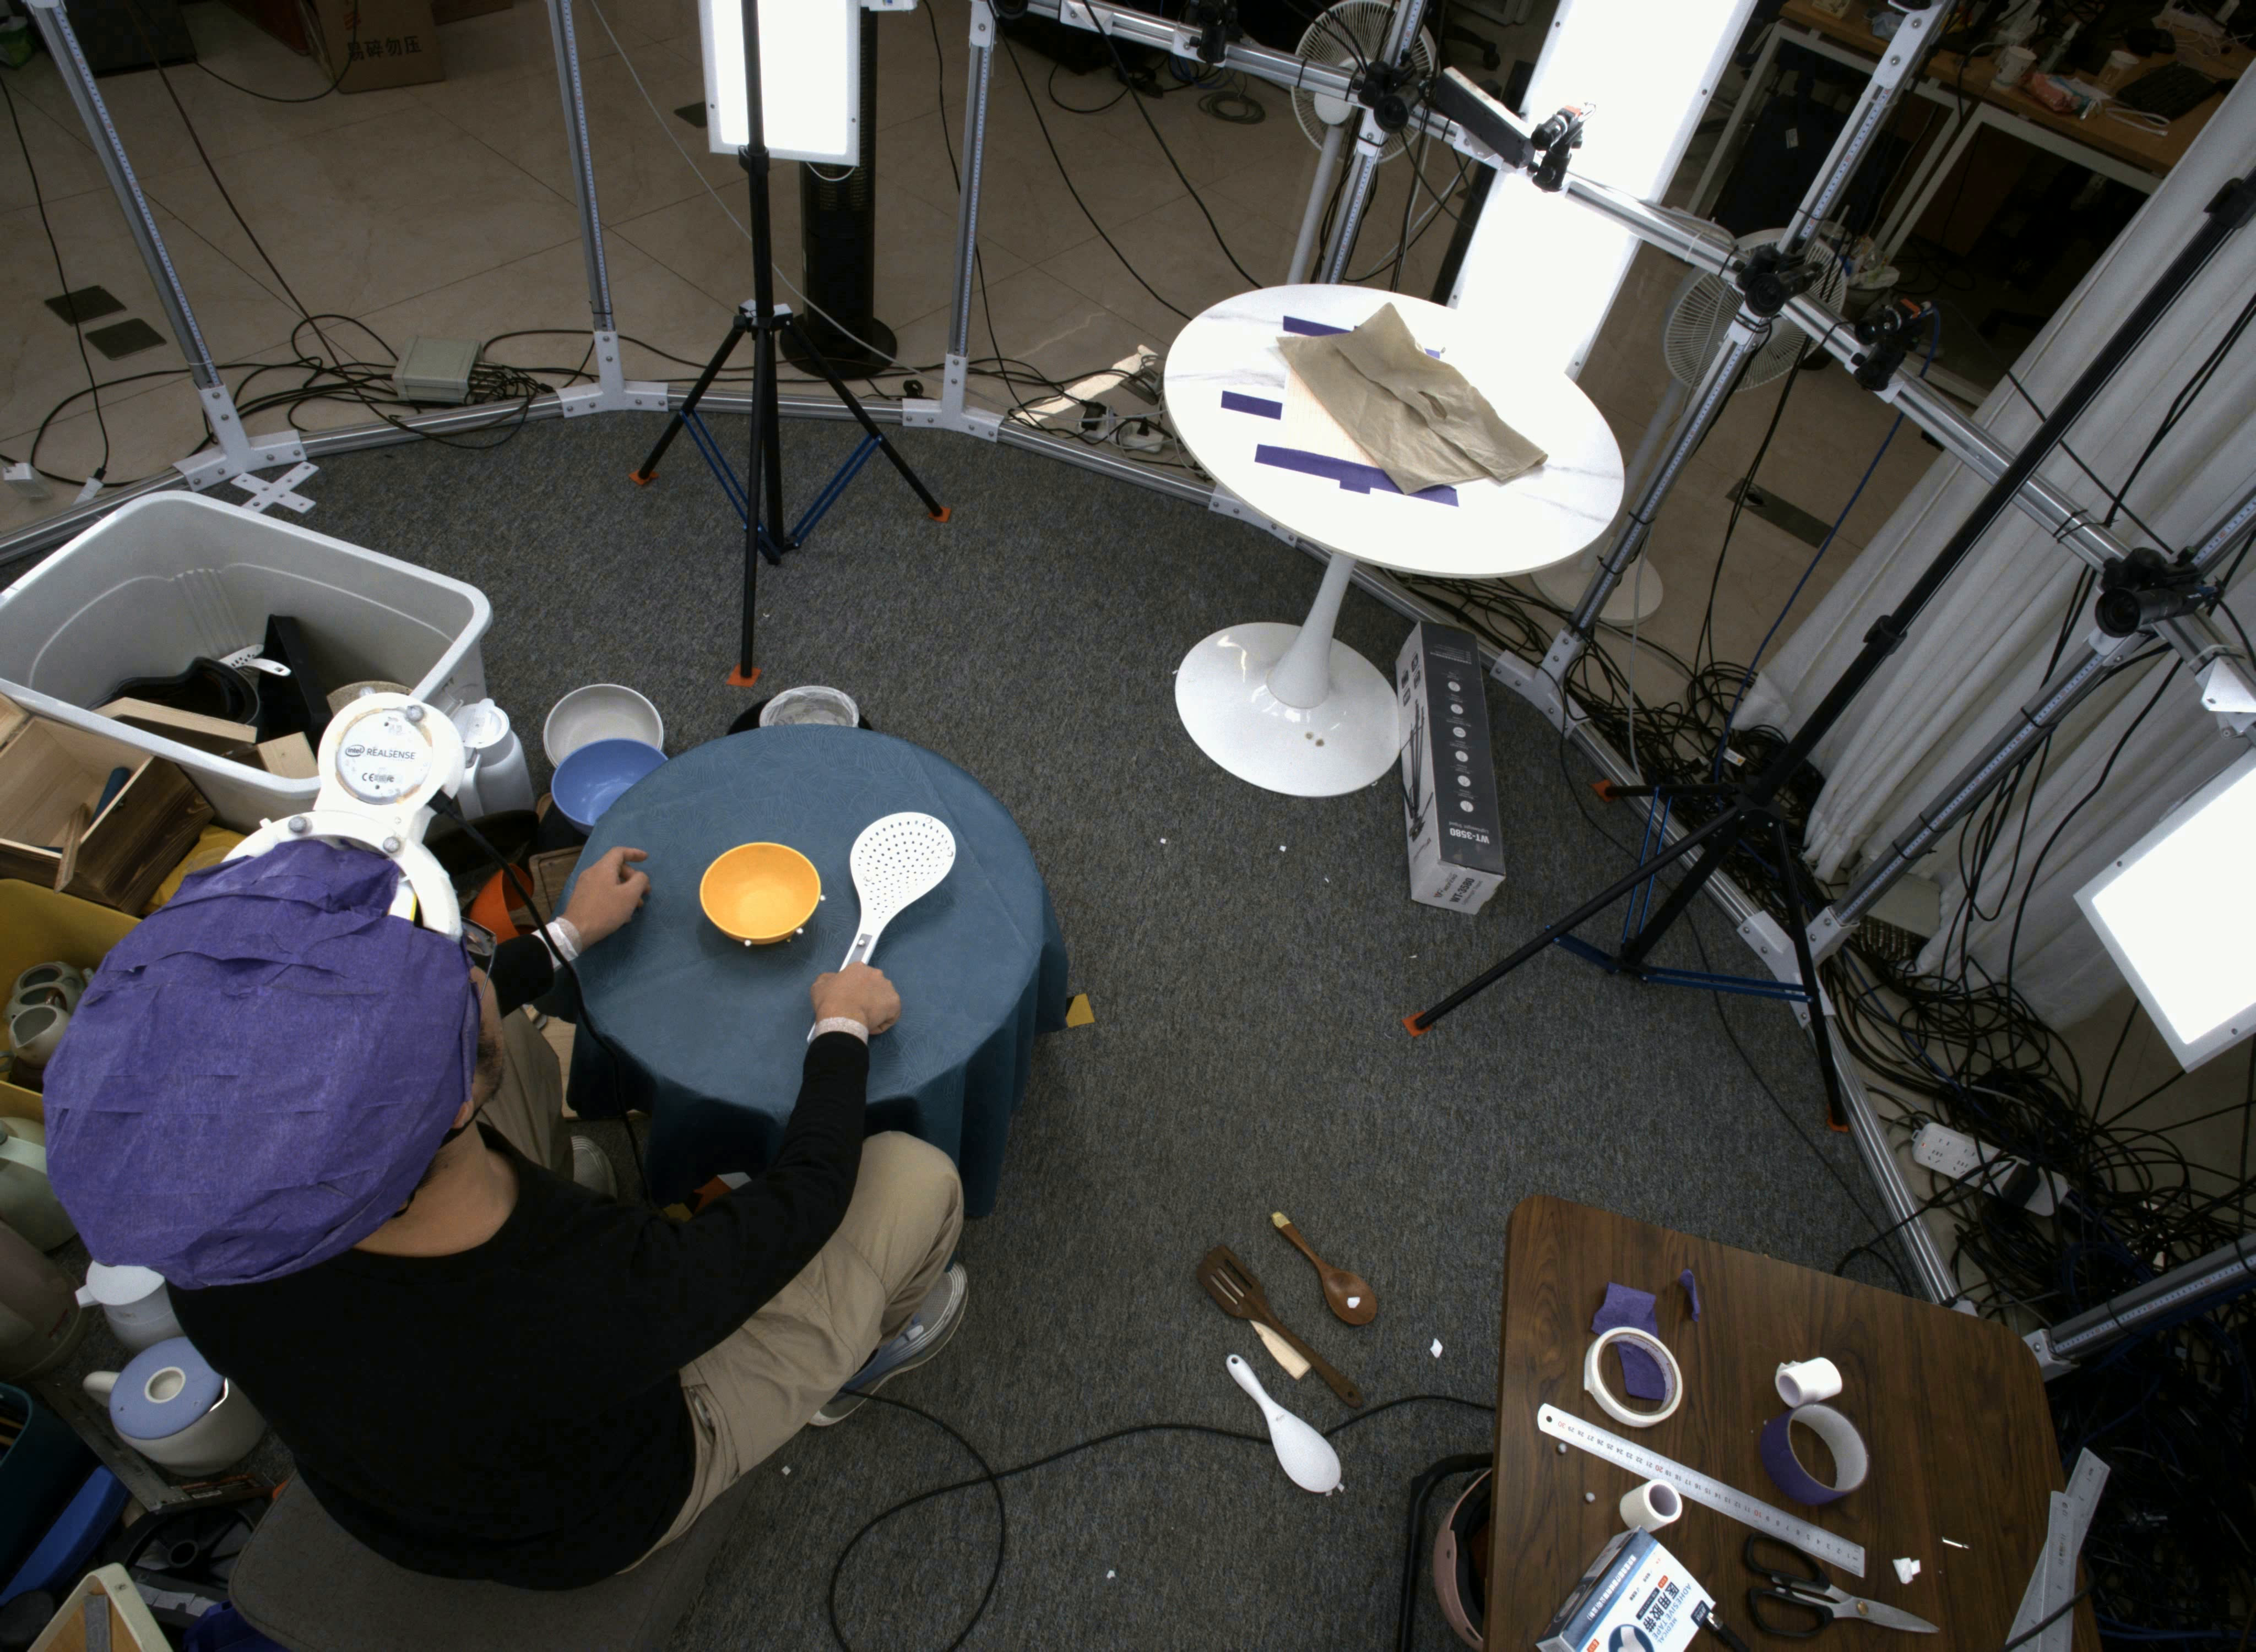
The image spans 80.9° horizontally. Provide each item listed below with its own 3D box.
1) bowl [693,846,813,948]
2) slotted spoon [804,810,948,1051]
[{"bbox_3d":[-0.462,0.097,1.600,0.145,0.061,0.142,8,50,-8],"label":"bowl"},{"bbox_3d":[-0.325,0.122,1.620,0.133,0.047,0.346,11,51,9],"label":"slotted spoon"}]
